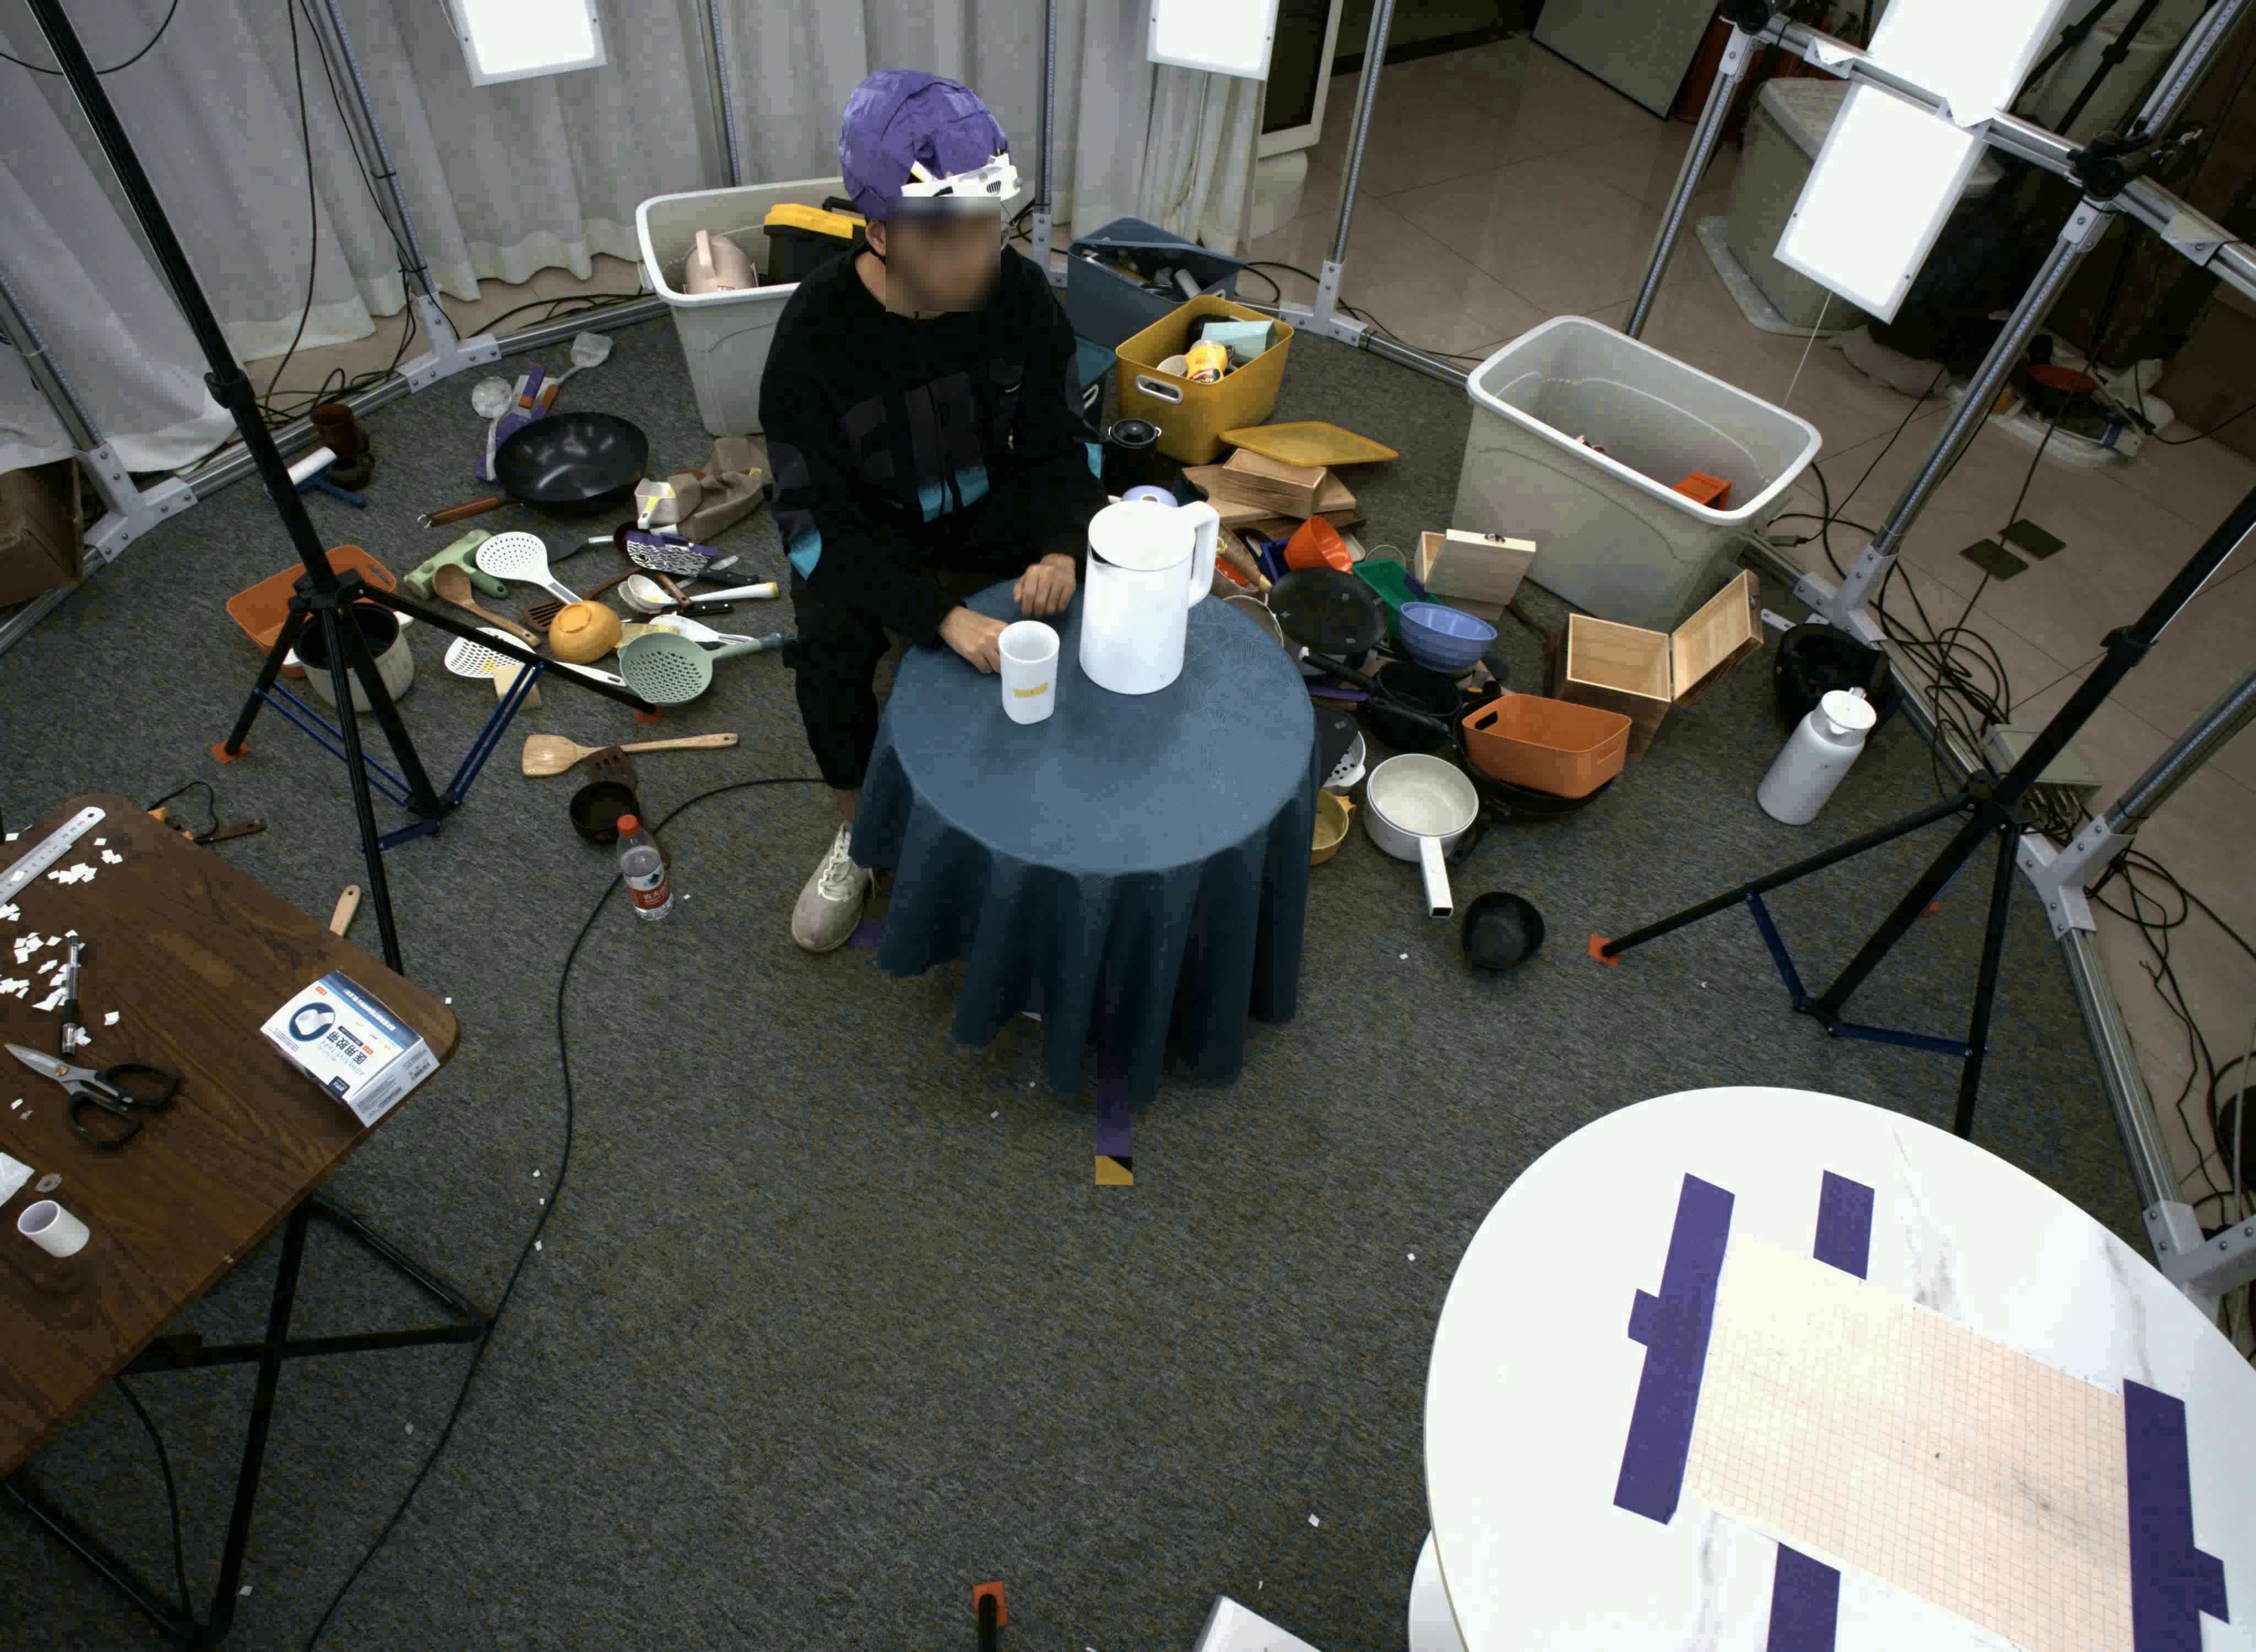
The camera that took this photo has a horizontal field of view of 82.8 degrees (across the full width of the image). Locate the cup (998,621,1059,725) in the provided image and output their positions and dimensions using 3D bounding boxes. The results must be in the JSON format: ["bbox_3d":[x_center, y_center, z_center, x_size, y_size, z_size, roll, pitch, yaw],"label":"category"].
[{"bbox_3d":[-0.135,-0.207,1.758,0.081,0.122,0.084,2,49,-2],"label":"cup"}]

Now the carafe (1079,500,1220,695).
[{"bbox_3d":[0.034,-0.329,1.806,0.214,0.234,0.155,-29,58,-24],"label":"carafe"}]
